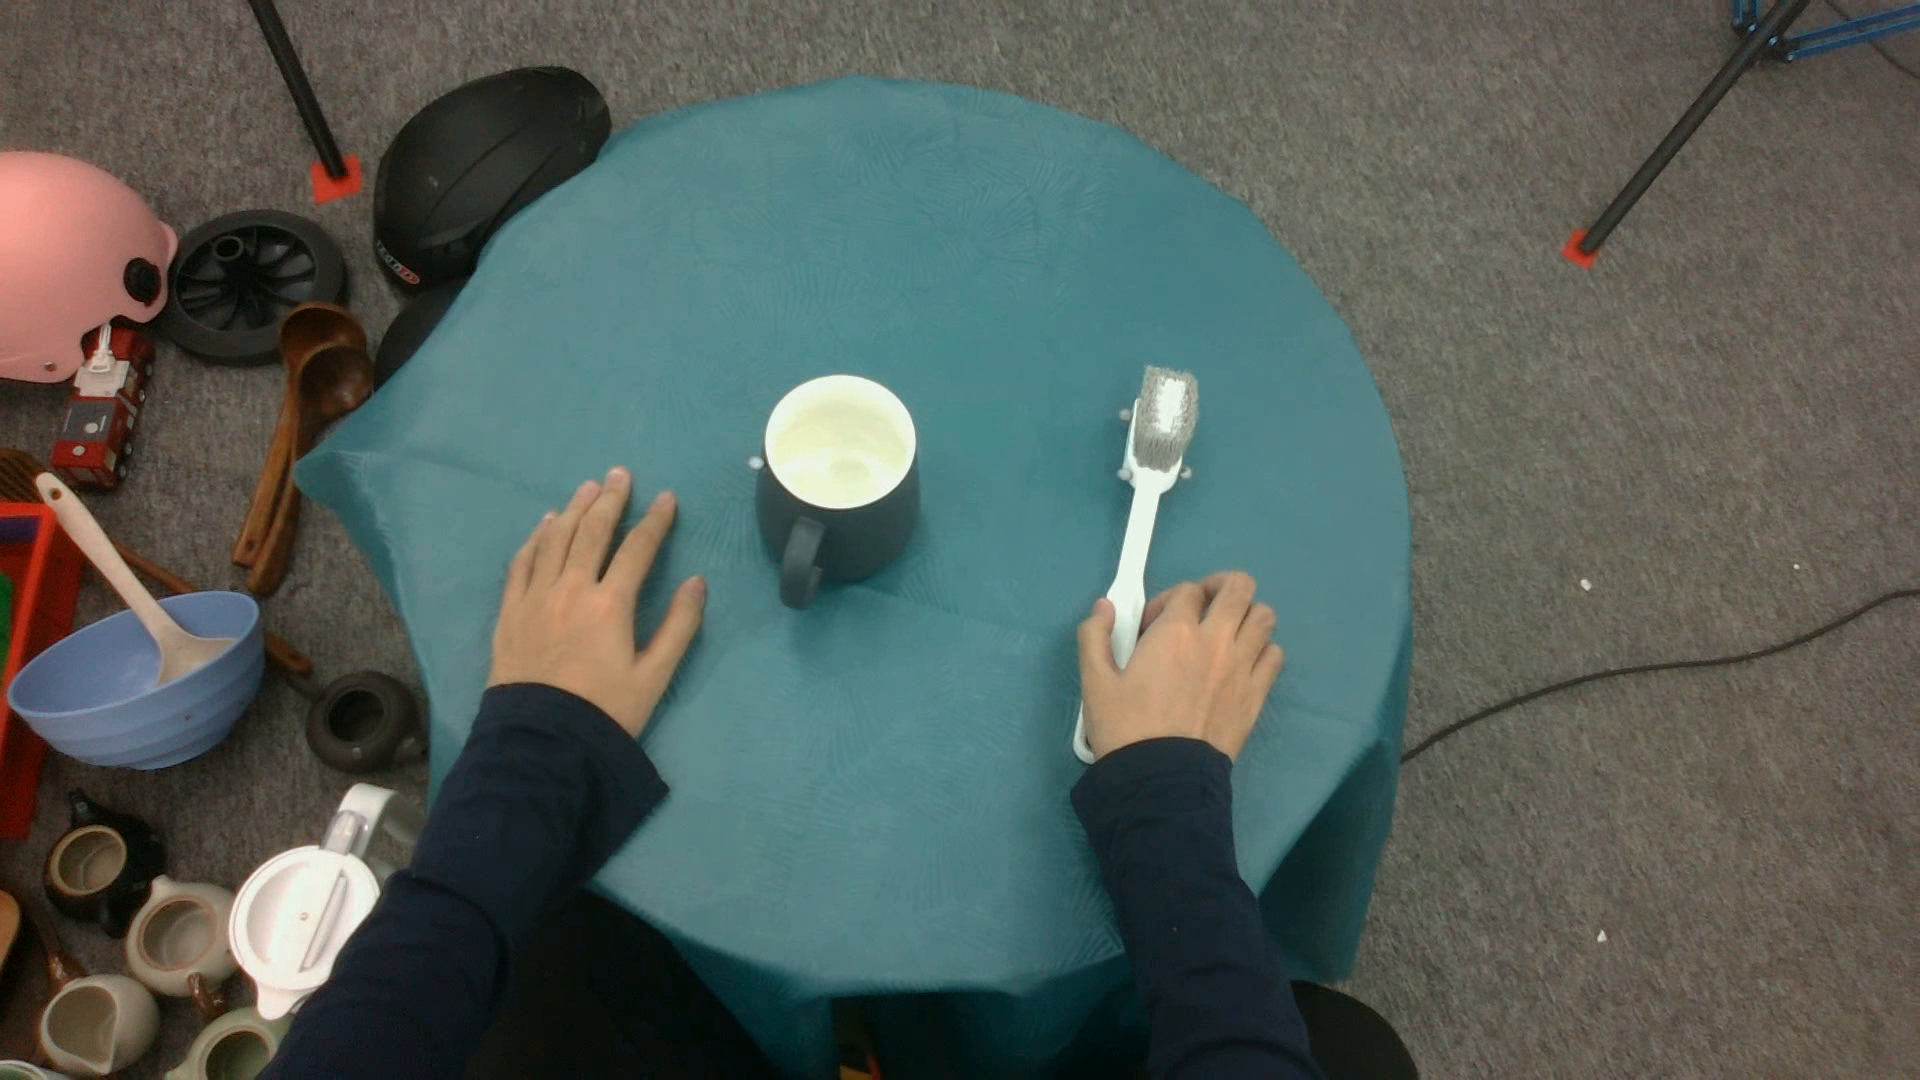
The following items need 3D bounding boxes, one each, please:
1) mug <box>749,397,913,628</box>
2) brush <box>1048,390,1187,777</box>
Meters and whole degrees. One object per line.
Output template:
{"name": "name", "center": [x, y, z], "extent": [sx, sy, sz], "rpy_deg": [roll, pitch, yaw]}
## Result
{"name": "mug", "center": [-0.077, -0.010, 0.762], "extent": [0.093, 0.089, 0.124], "rpy_deg": [19, 62, 5]}
{"name": "brush", "center": [0.093, 0.017, 0.795], "extent": [0.034, 0.050, 0.244], "rpy_deg": [18, 63, -1]}
